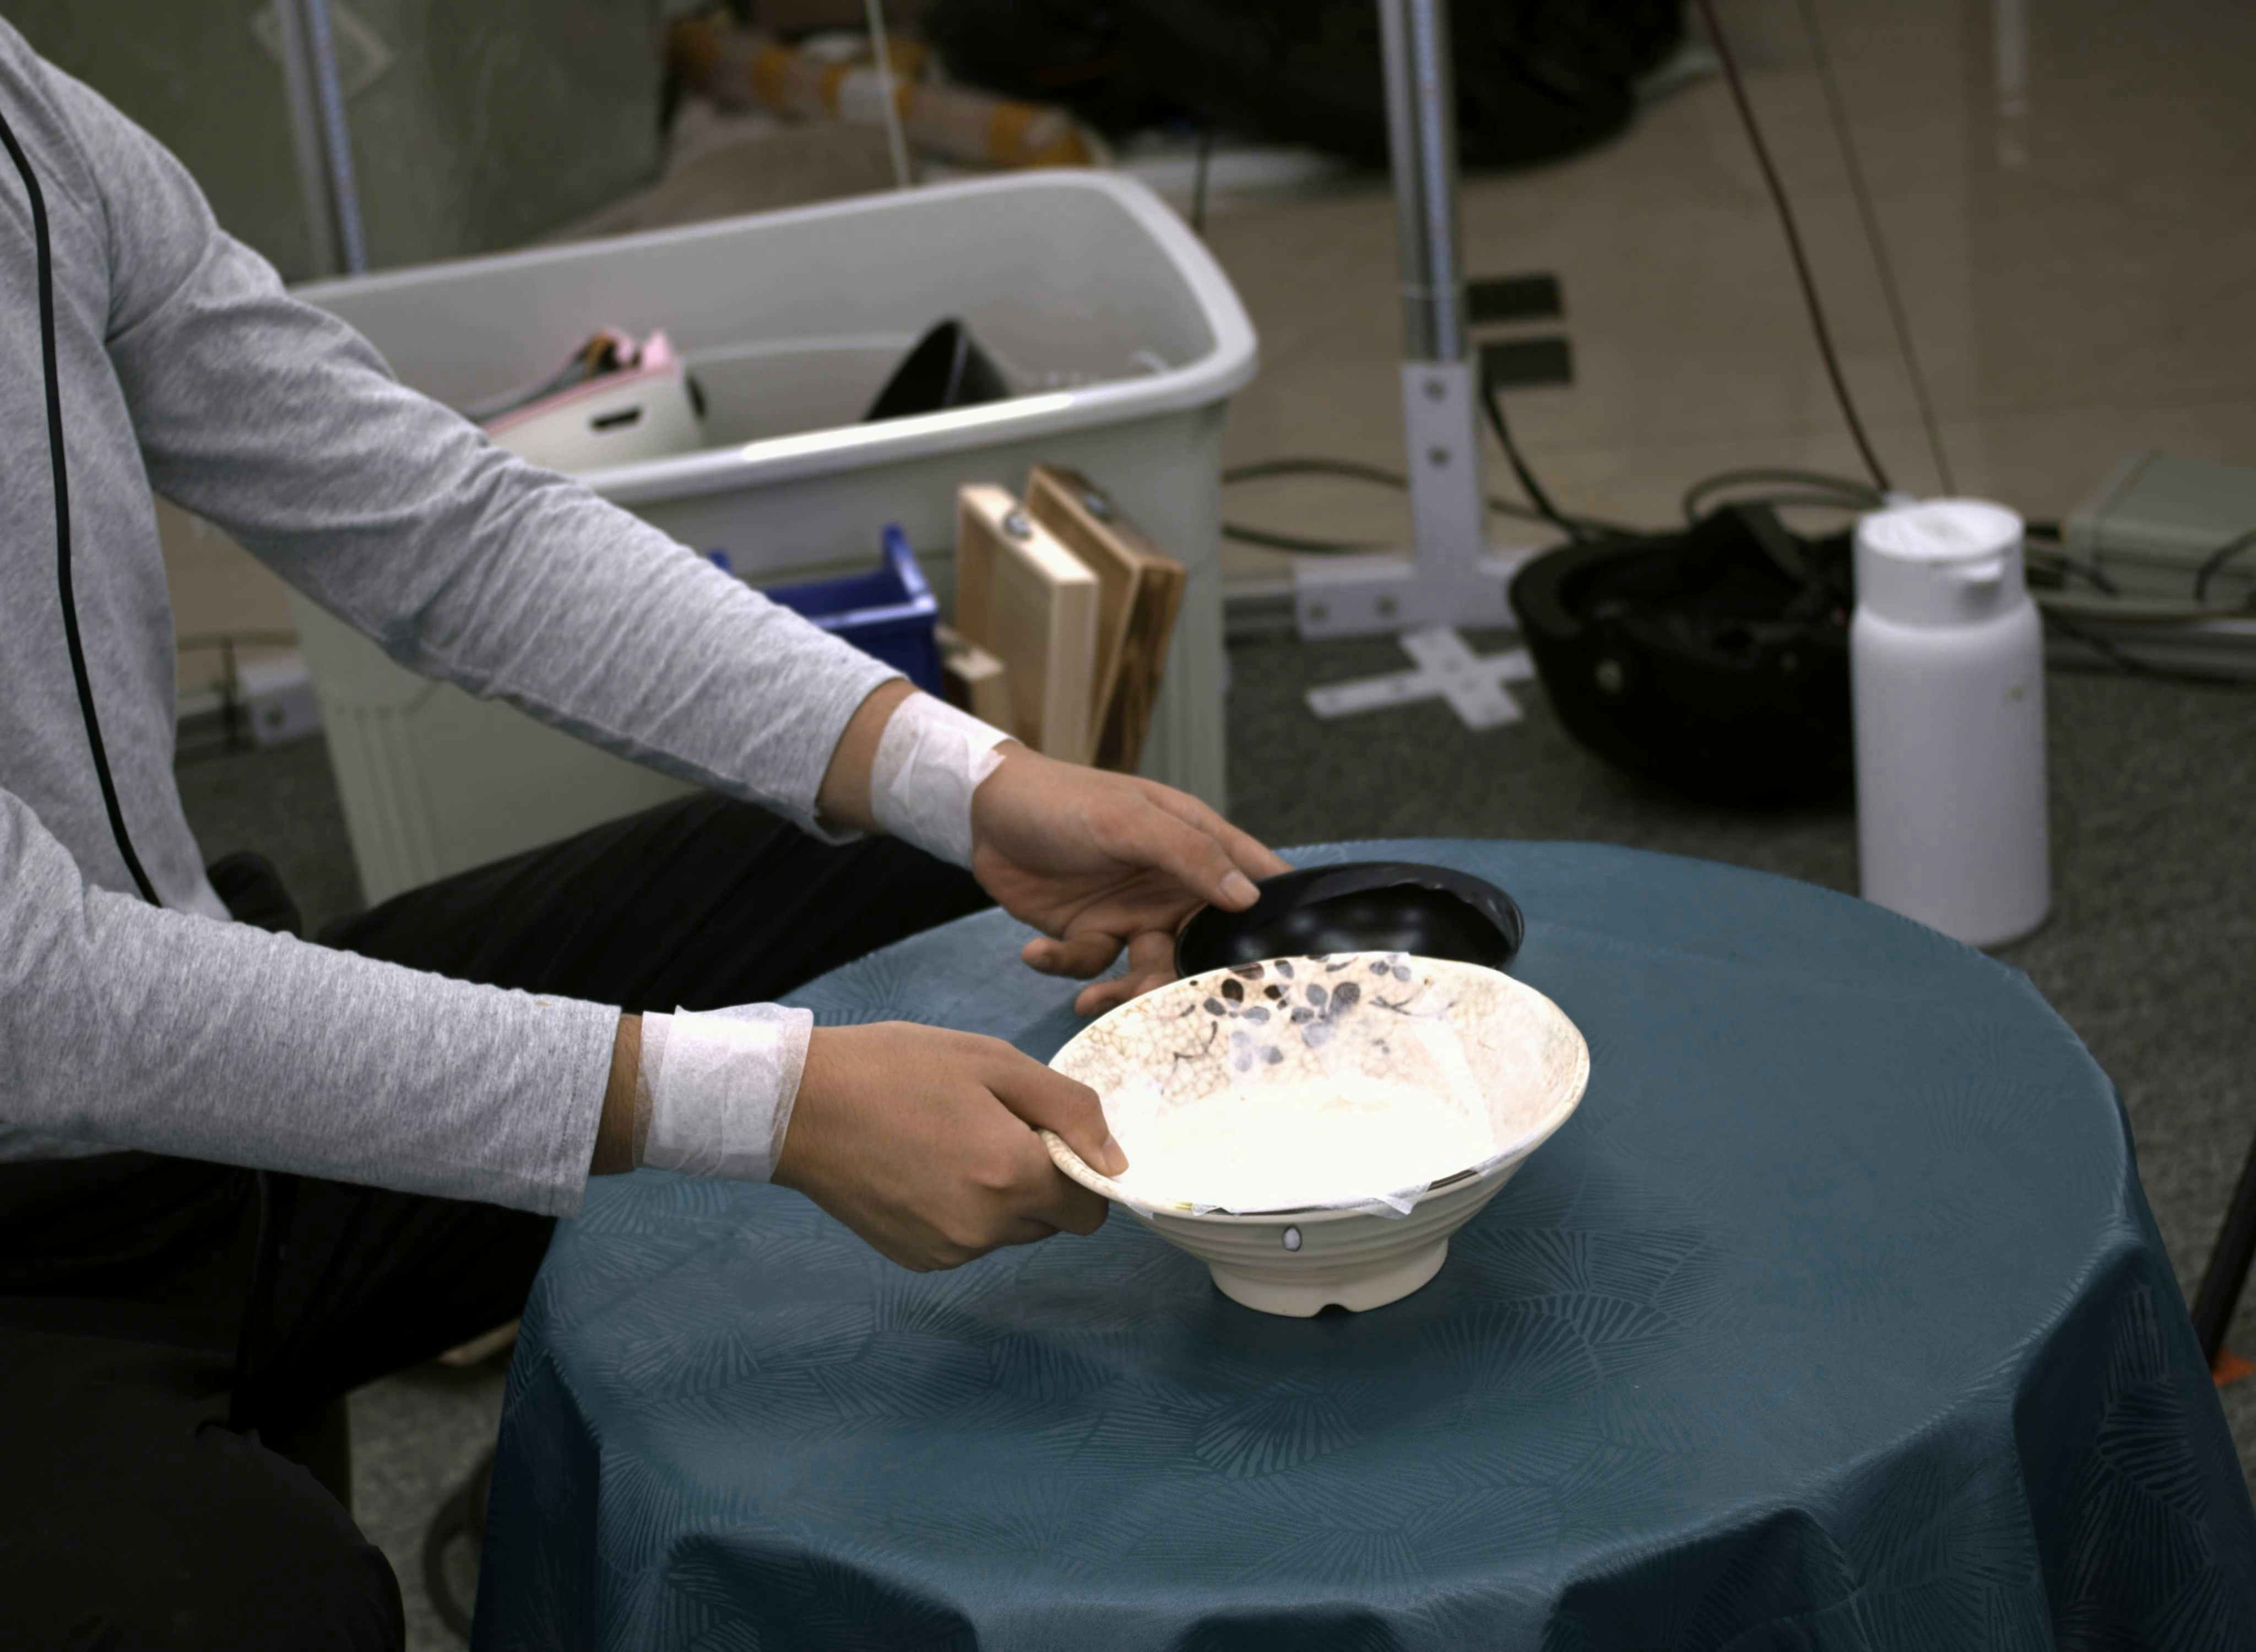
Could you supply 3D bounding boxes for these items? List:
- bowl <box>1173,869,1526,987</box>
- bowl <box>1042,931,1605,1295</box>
[{"bbox_3d":[0.089,0.066,2.230,0.140,0.050,0.138,-7,22,3],"label":"bowl"},{"bbox_3d":[0.069,0.116,2.057,0.203,0.079,0.201,2,26,-1],"label":"bowl"}]
